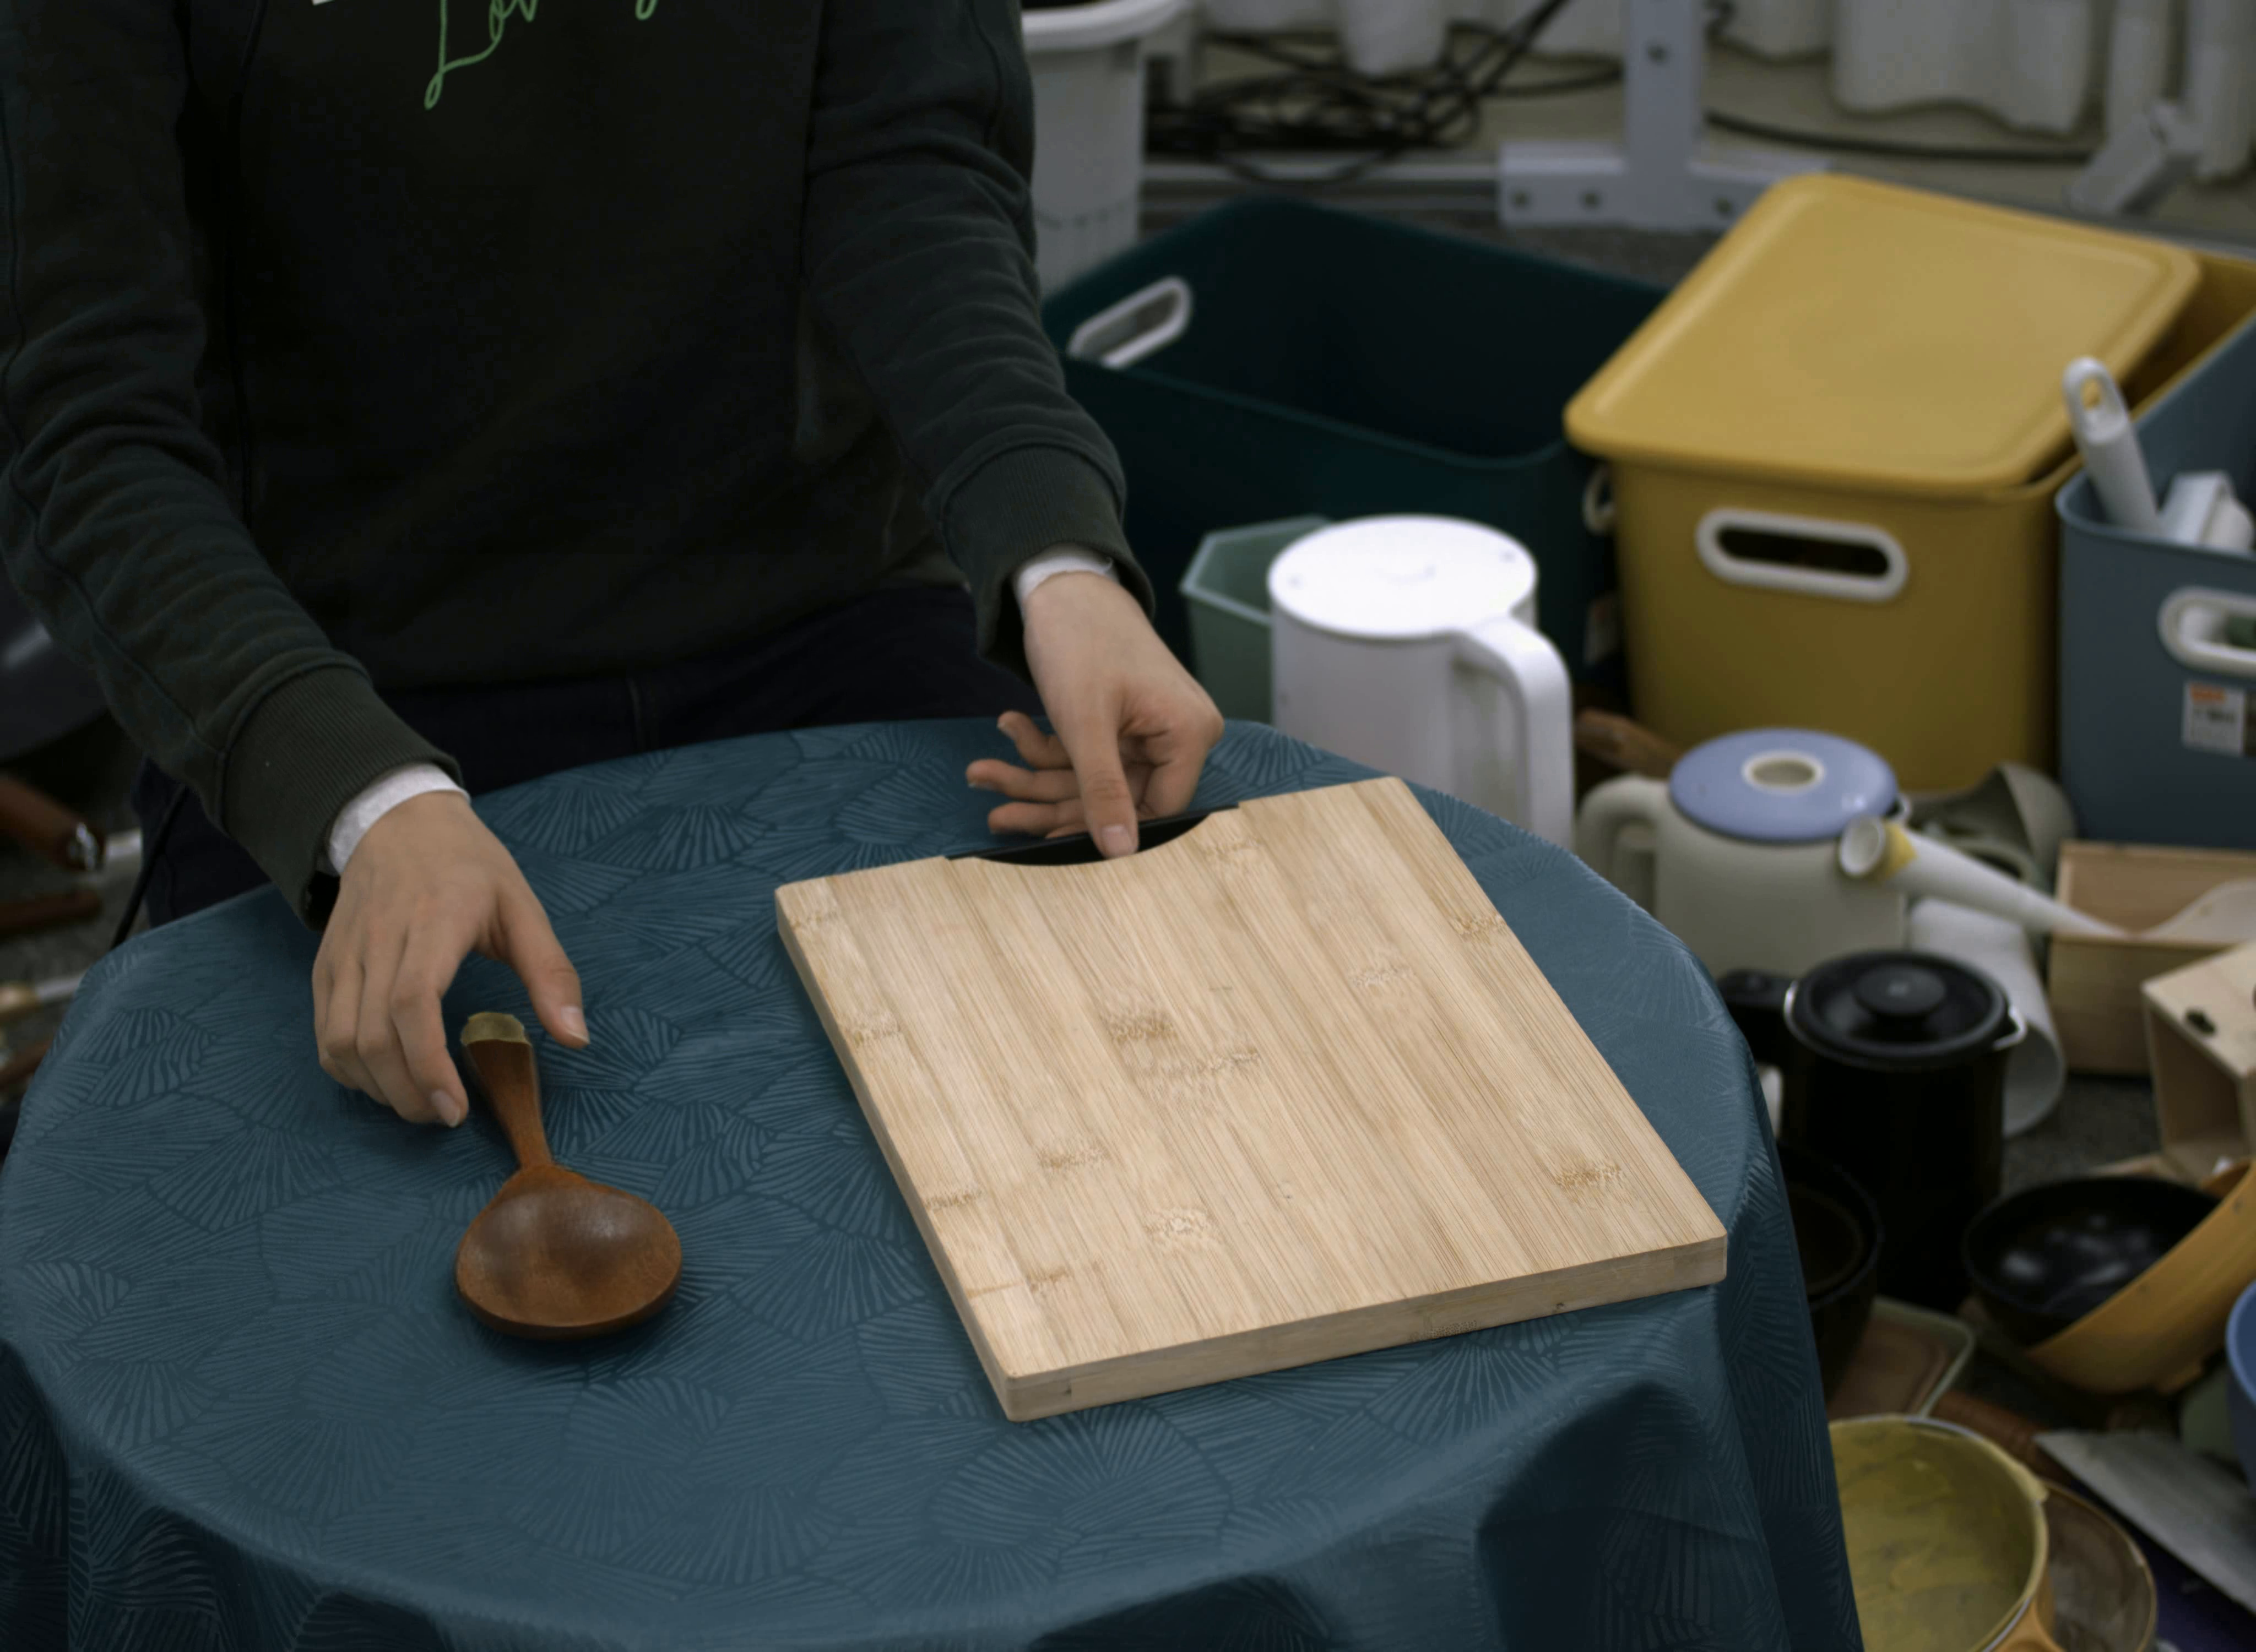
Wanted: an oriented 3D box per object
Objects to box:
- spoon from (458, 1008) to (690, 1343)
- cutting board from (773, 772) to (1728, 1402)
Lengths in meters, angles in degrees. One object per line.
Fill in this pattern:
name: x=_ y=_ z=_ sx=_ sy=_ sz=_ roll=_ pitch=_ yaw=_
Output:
spoon: x=-0.195 y=0.117 z=1.871 sx=0.075 sy=0.017 sz=0.218 roll=-10 pitch=28 yaw=-11
cutting board: x=0.031 y=0.082 z=1.918 sx=0.251 sy=0.023 sz=0.352 roll=-9 pitch=28 yaw=-14
